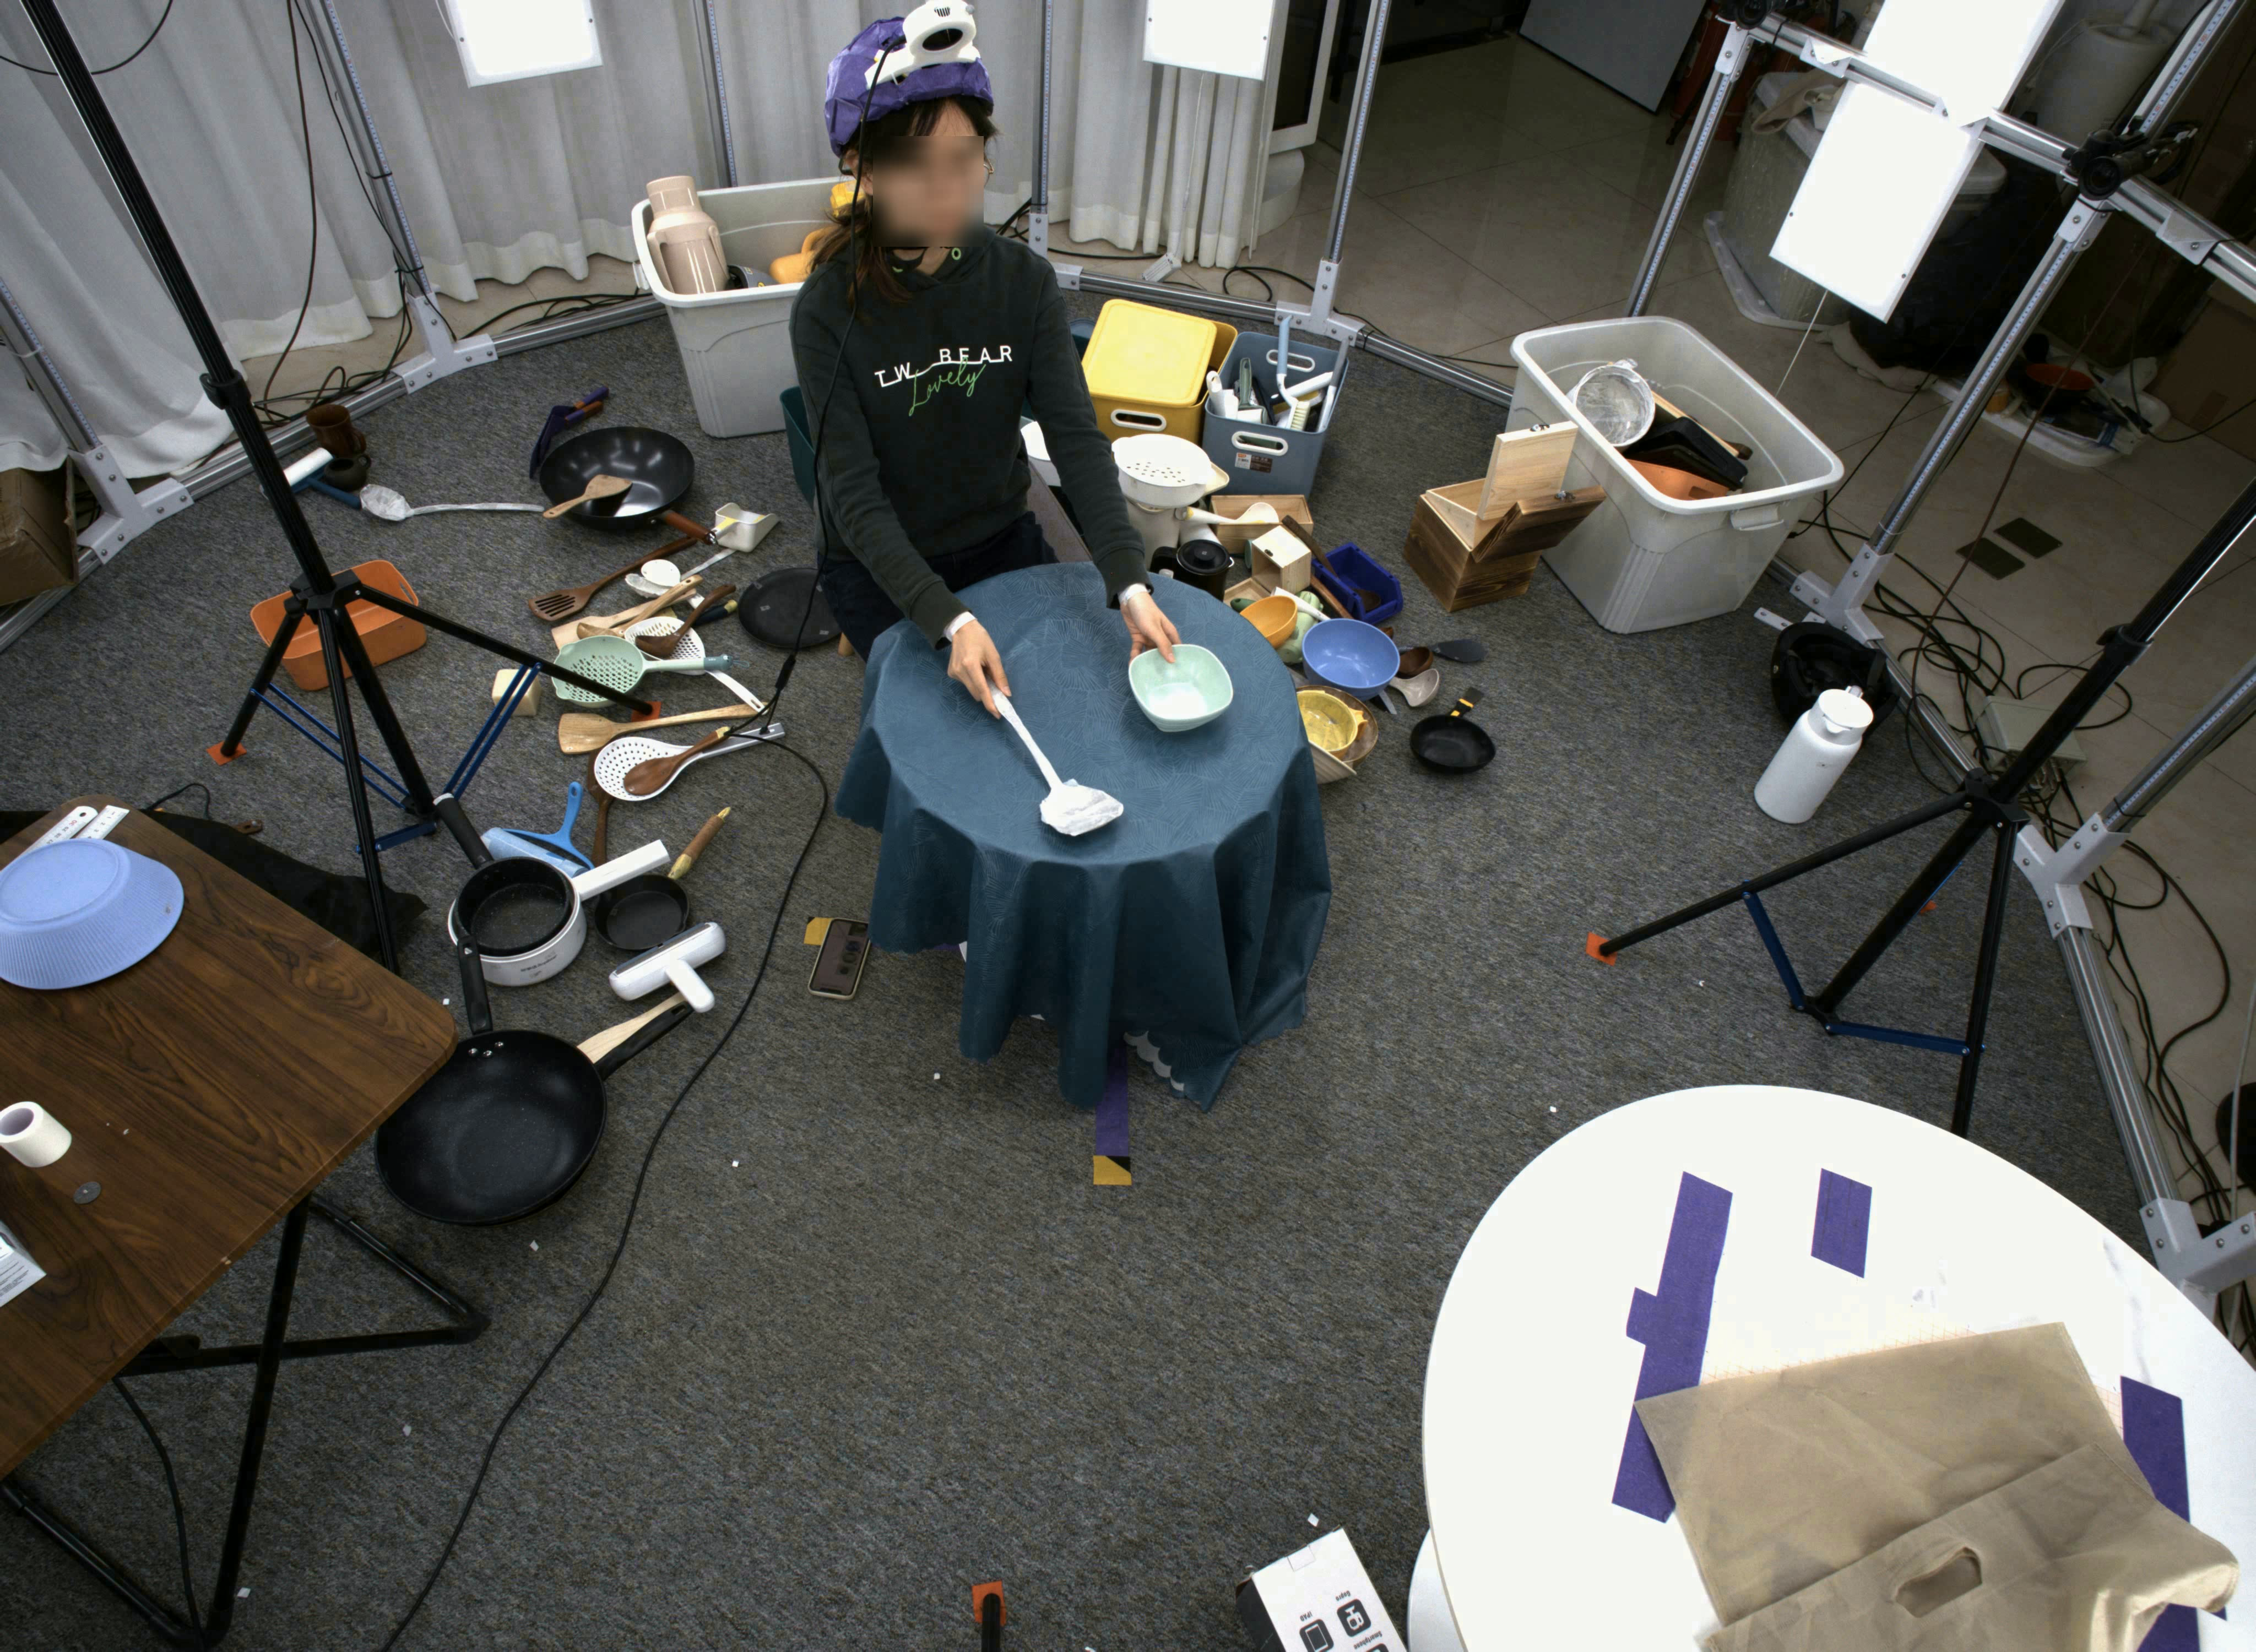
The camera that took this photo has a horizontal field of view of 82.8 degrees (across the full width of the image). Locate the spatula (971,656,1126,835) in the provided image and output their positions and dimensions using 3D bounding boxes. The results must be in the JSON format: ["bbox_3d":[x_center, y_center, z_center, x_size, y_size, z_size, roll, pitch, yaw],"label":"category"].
[{"bbox_3d":[-0.130,-0.120,1.742,0.099,0.044,0.372,-23,59,-21],"label":"spatula"}]

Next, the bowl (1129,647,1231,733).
[{"bbox_3d":[0.069,-0.183,1.810,0.151,0.057,0.155,4,51,-6],"label":"bowl"}]
